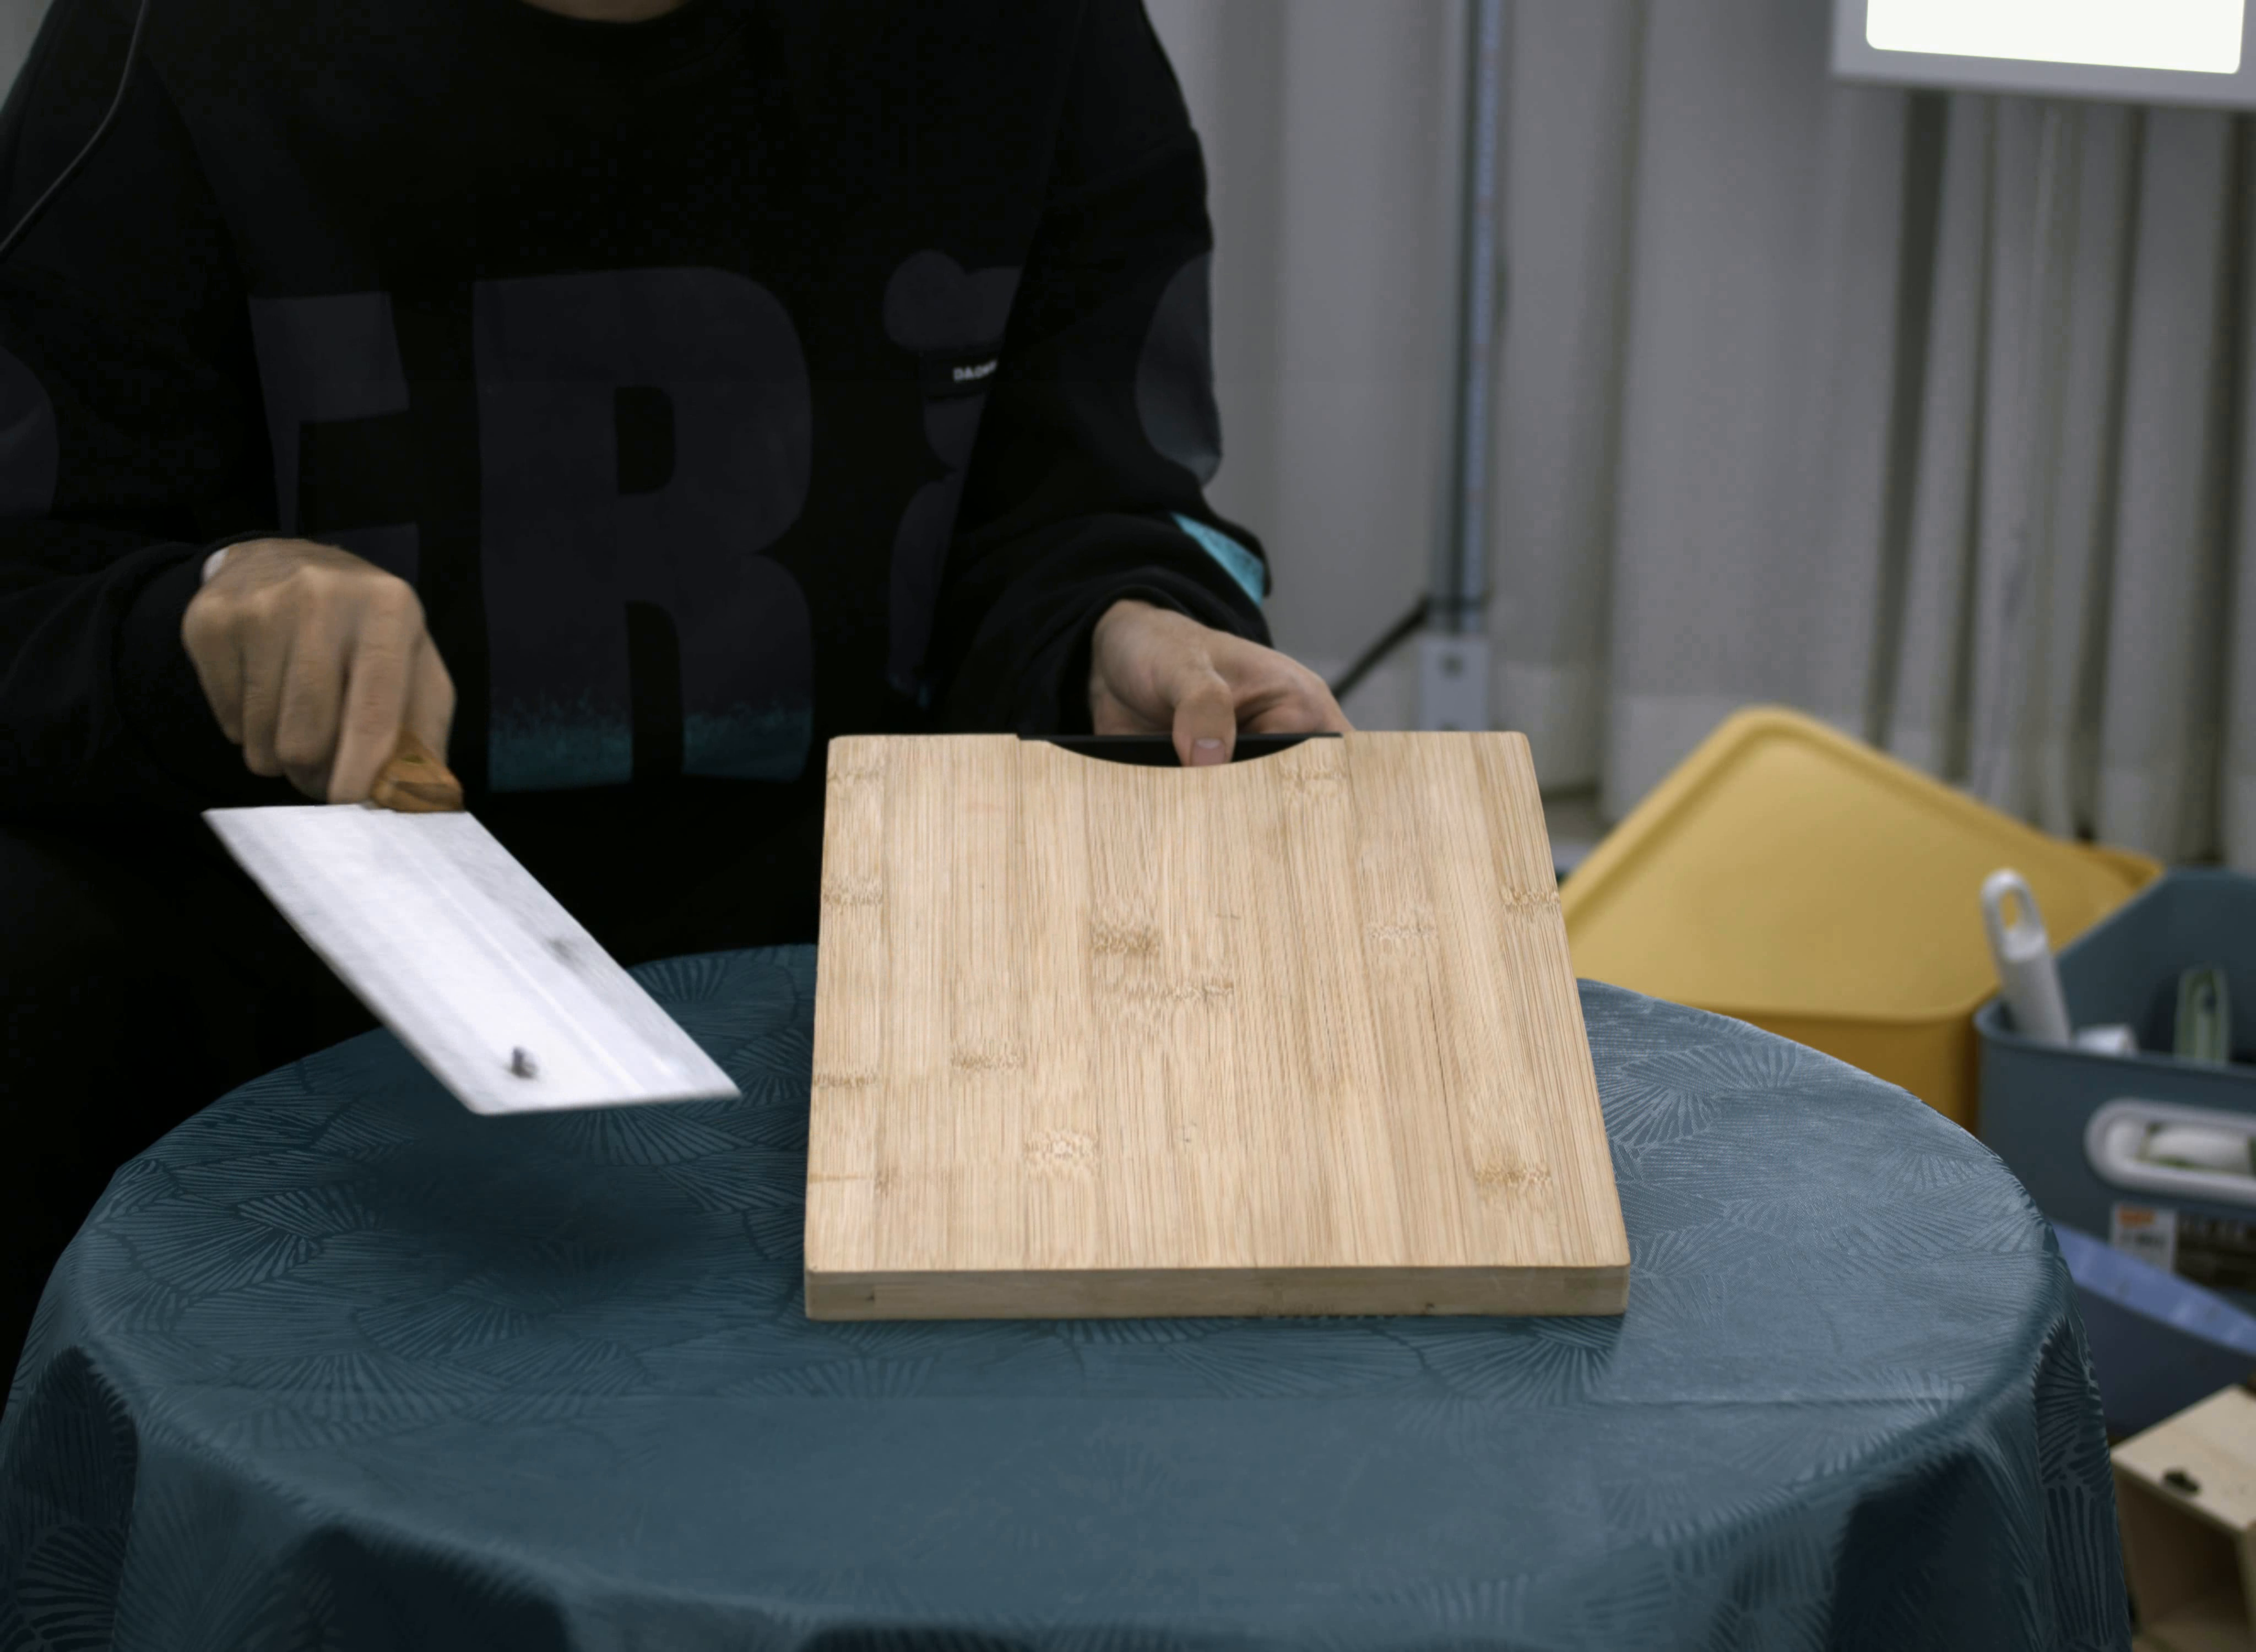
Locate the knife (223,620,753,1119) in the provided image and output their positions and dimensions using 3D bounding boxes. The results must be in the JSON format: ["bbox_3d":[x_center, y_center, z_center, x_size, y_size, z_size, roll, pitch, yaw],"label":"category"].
[{"bbox_3d":[-0.225,0.011,1.635,0.093,0.021,0.301,-1,30,-38],"label":"knife"}]

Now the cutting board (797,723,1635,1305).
[{"bbox_3d":[0.023,0.053,1.667,0.250,0.024,0.345,0,28,-3],"label":"cutting board"}]
